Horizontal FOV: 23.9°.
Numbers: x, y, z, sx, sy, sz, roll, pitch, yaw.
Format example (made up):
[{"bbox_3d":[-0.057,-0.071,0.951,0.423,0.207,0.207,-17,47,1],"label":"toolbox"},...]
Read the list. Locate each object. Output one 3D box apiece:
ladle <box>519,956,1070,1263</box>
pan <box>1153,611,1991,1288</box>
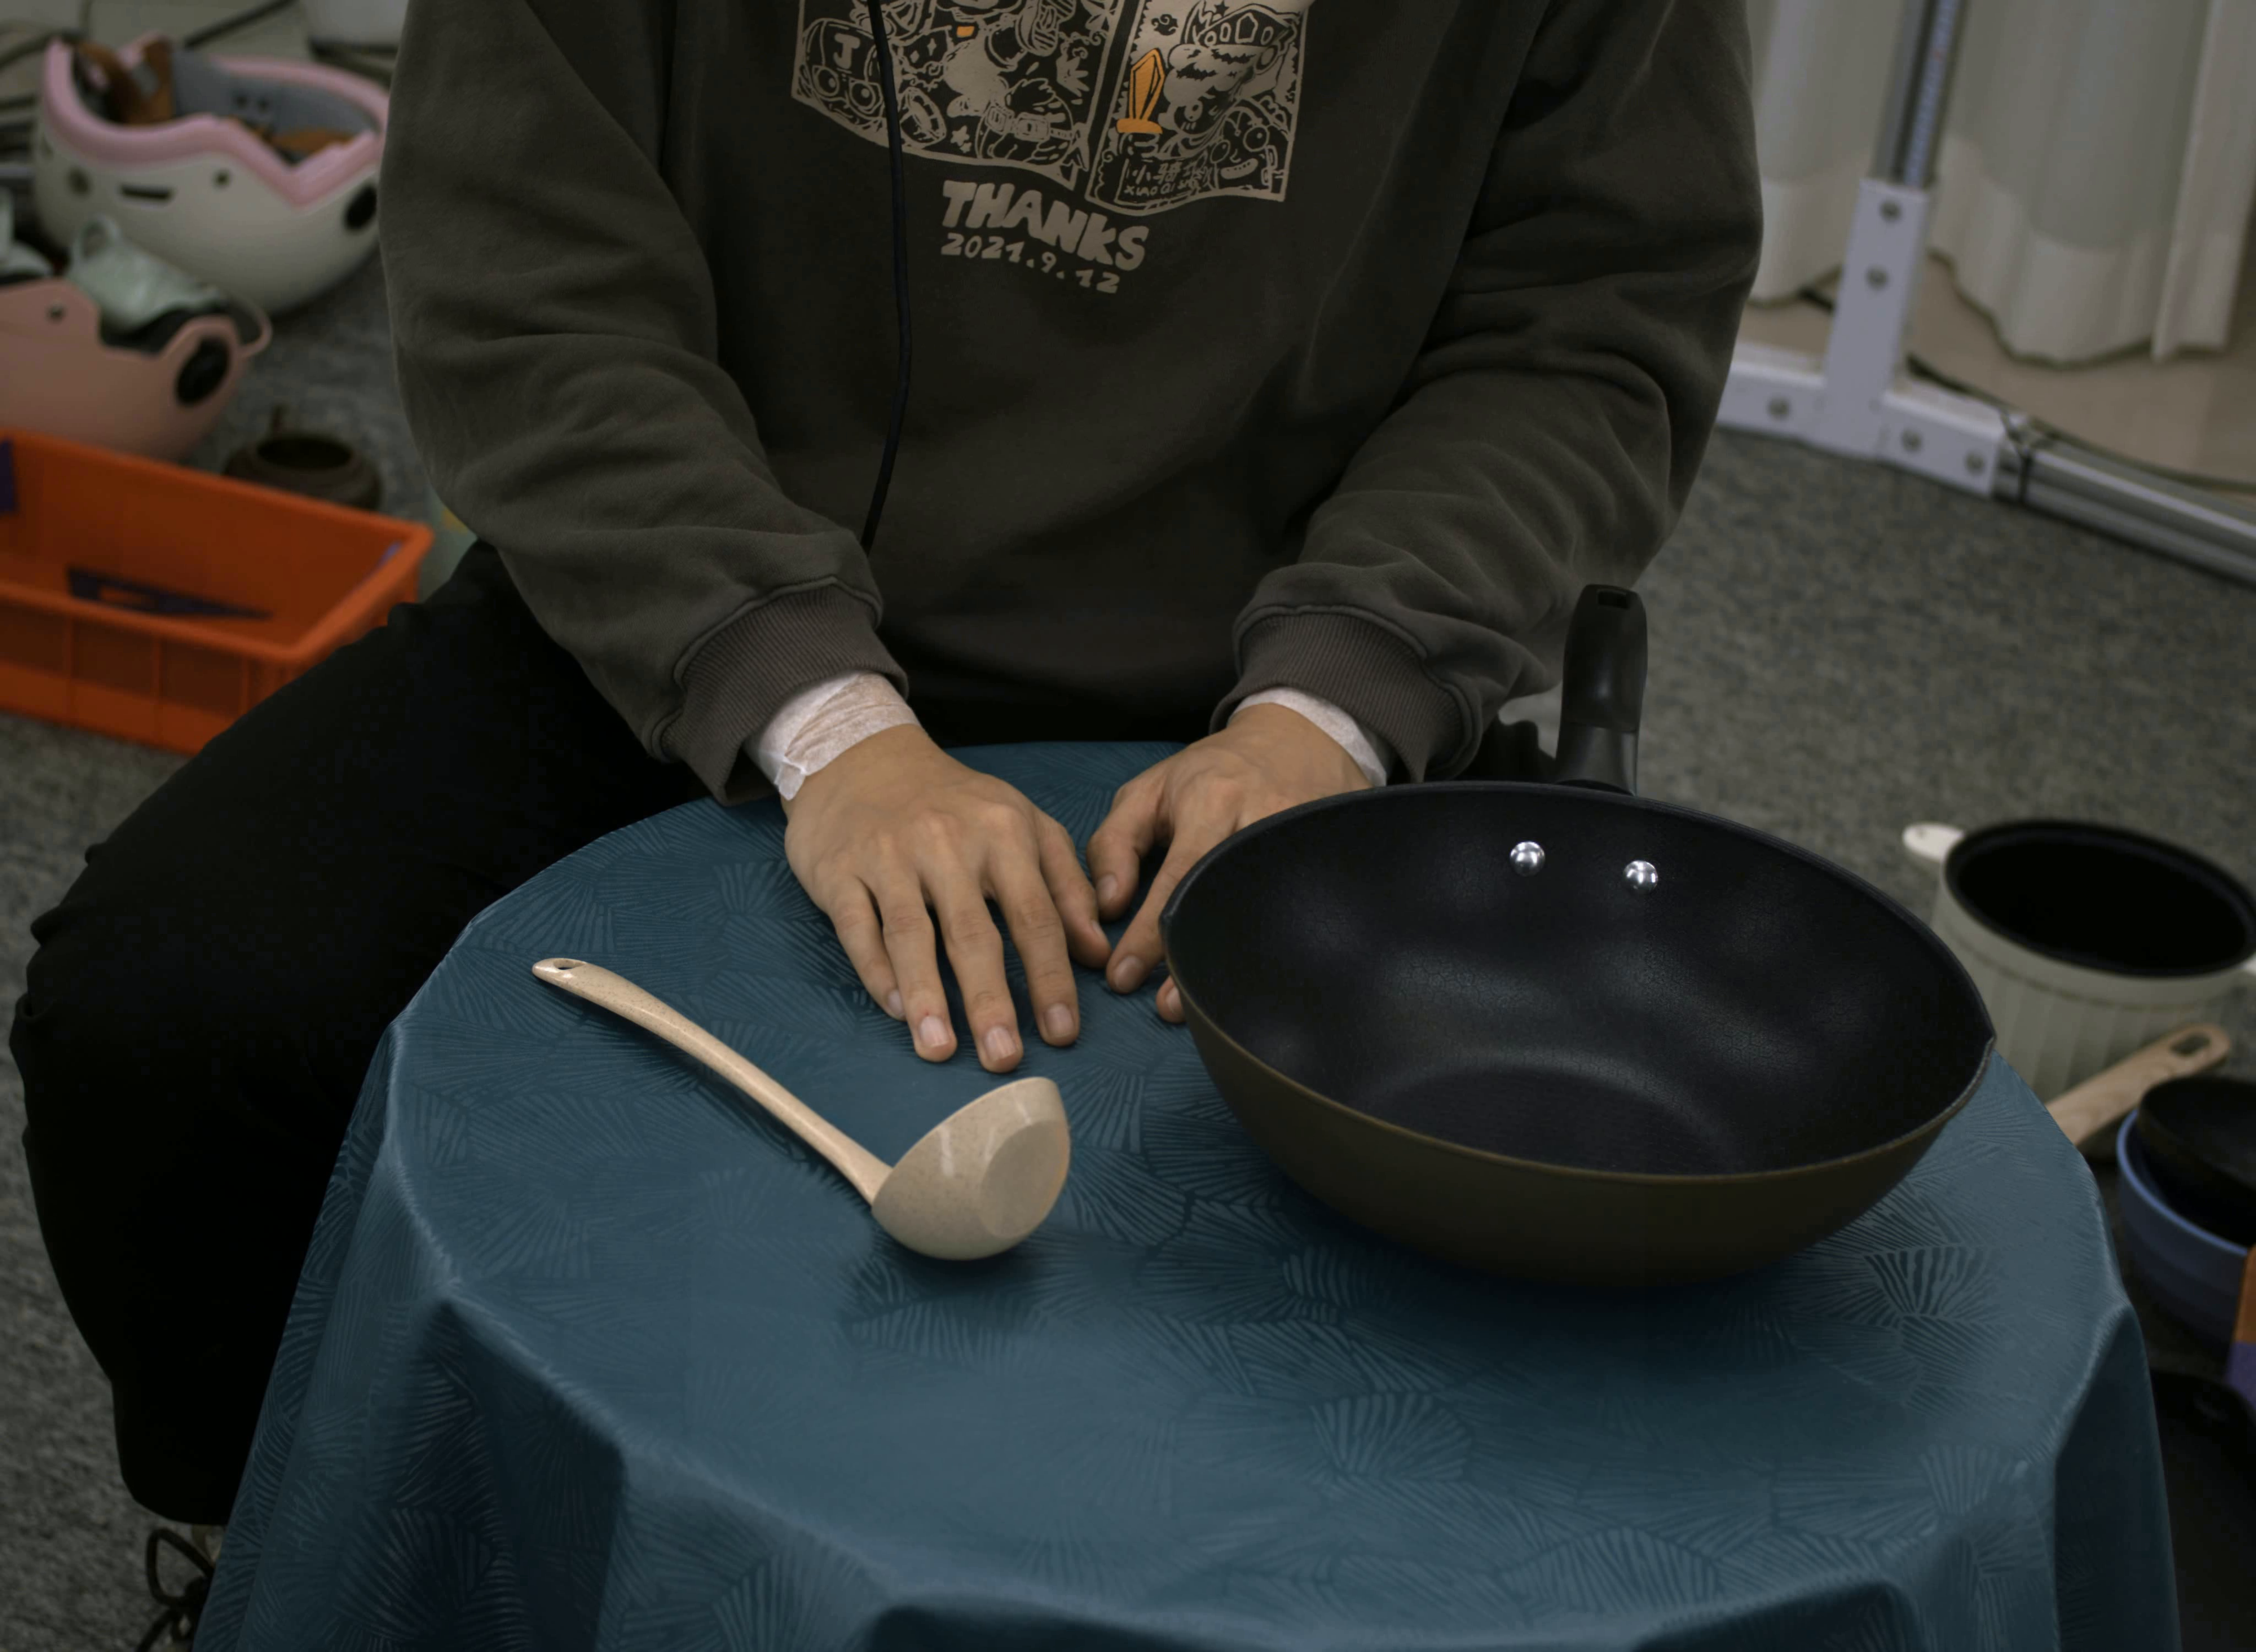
[{"bbox_3d":[-0.121,0.069,1.803,0.072,0.072,0.256,-21,38,-40],"label":"ladle"},{"bbox_3d":[0.158,0.044,1.907,0.288,0.086,0.465,8,26,4],"label":"pan"}]
